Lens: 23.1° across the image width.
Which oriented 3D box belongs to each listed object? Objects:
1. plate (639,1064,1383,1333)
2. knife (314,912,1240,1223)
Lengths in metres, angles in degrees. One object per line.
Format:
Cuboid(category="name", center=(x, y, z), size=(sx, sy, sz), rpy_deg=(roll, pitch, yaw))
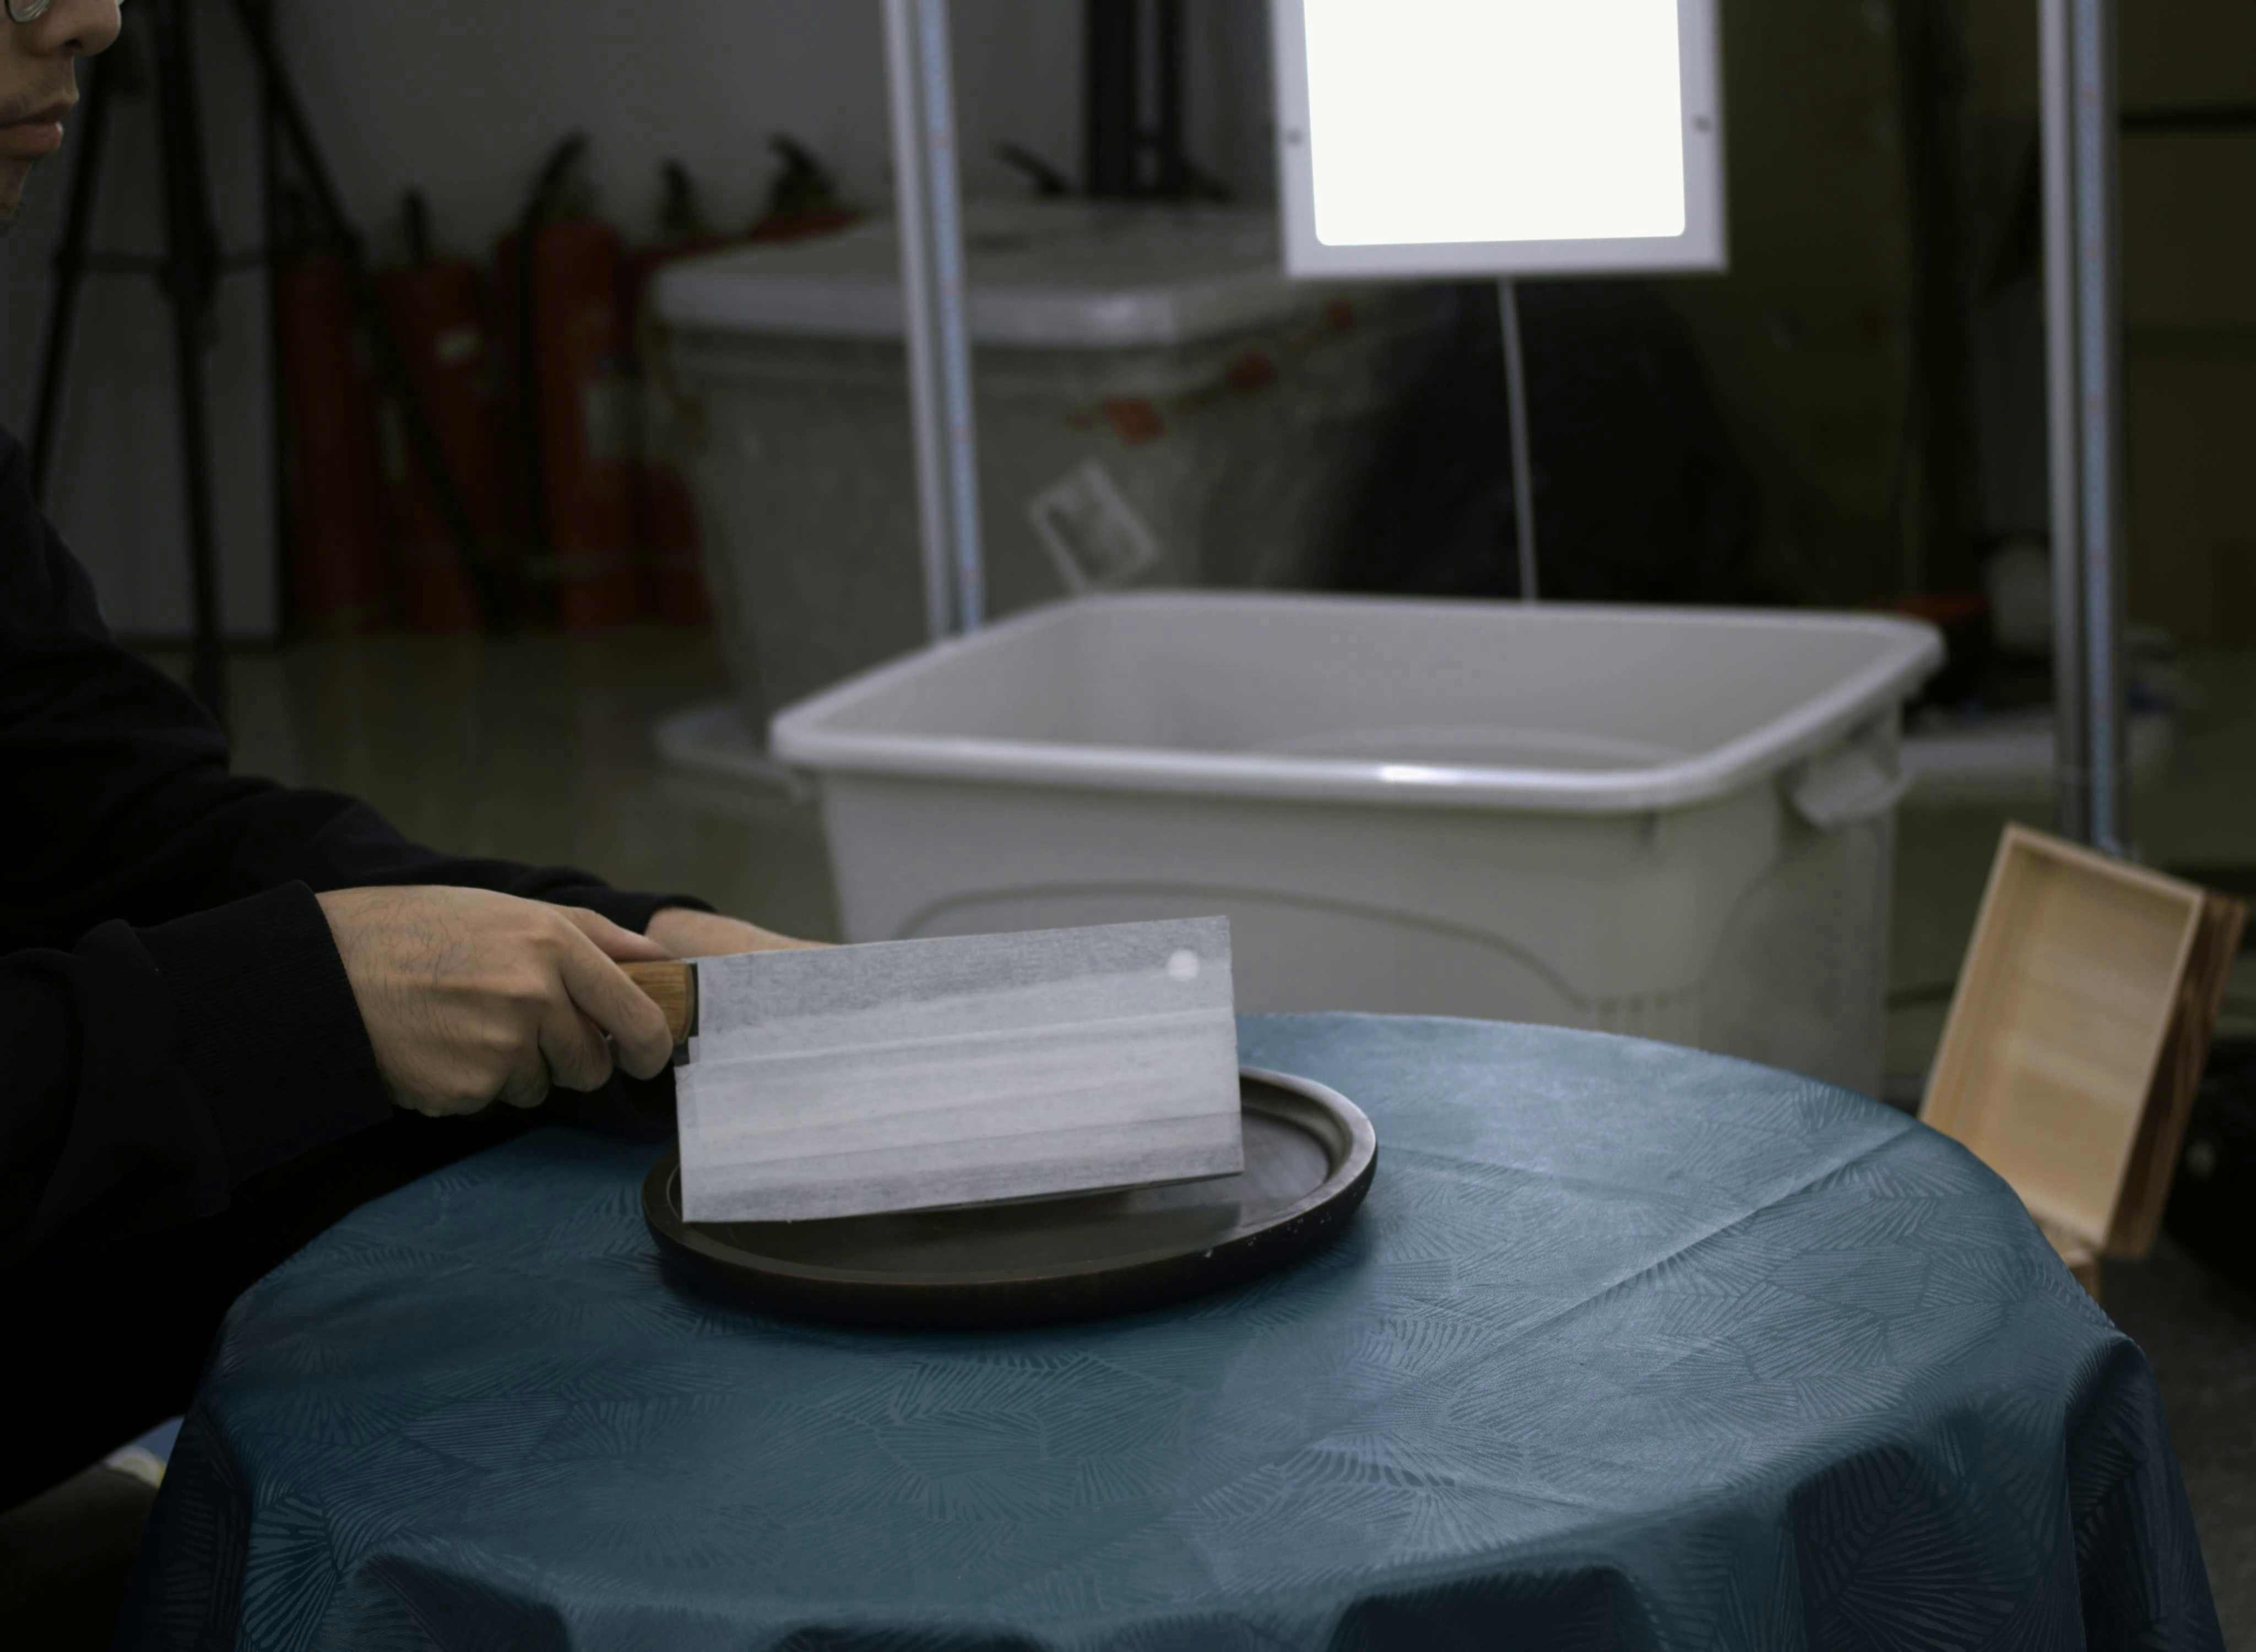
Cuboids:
Cuboid(category="plate", center=(-0.039, 0.122, 1.873), size=(0.254, 0.029, 0.254), rpy_deg=(-4, 15, 0))
Cuboid(category="knife", center=(-0.114, 0.084, 1.828), size=(0.304, 0.093, 0.021), rpy_deg=(-4, 7, -4))
